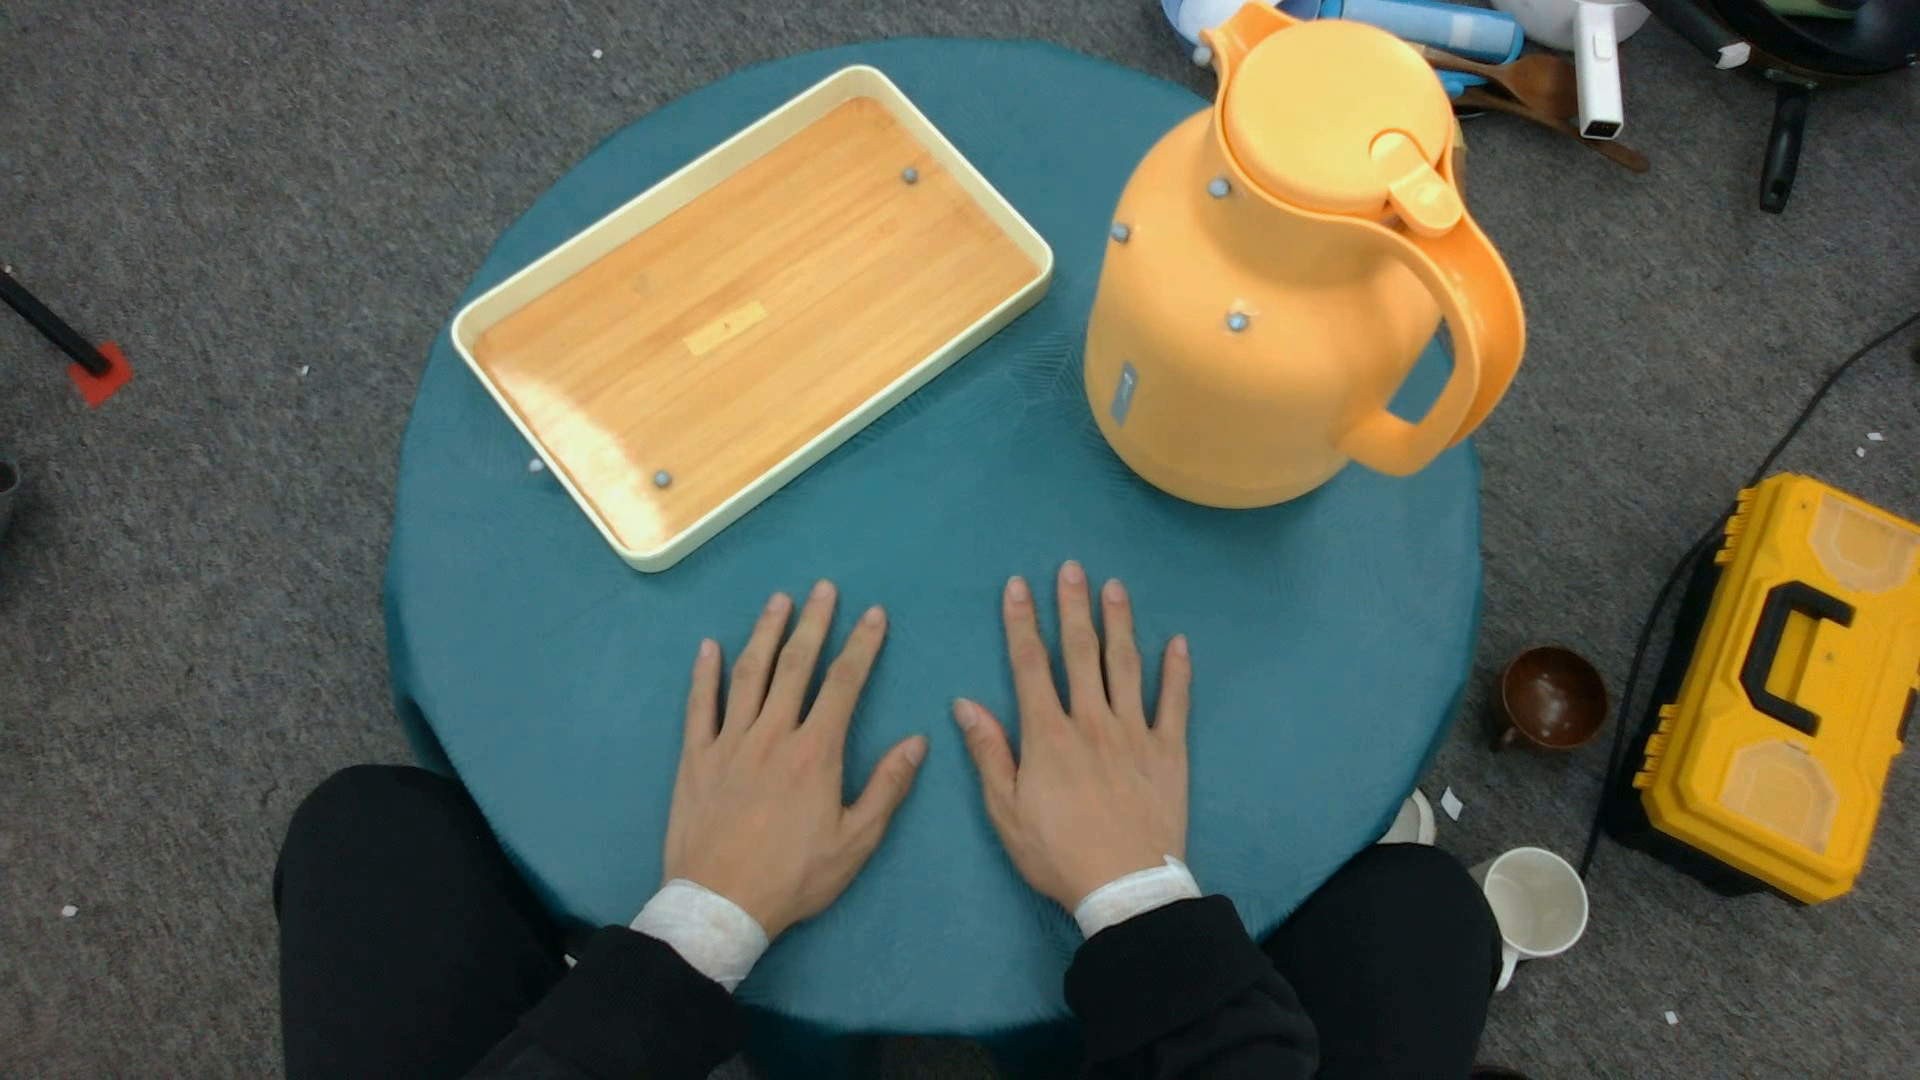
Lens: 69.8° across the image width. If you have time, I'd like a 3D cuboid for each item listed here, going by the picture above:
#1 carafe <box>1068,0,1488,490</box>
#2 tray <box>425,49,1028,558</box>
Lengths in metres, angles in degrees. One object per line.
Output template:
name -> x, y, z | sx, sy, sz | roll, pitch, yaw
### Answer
carafe -> 0.149, -0.123, 0.660 | 0.164, 0.259, 0.202 | -32, 71, -10
tray -> -0.128, -0.143, 0.784 | 0.301, 0.027, 0.192 | -38, 74, -15
